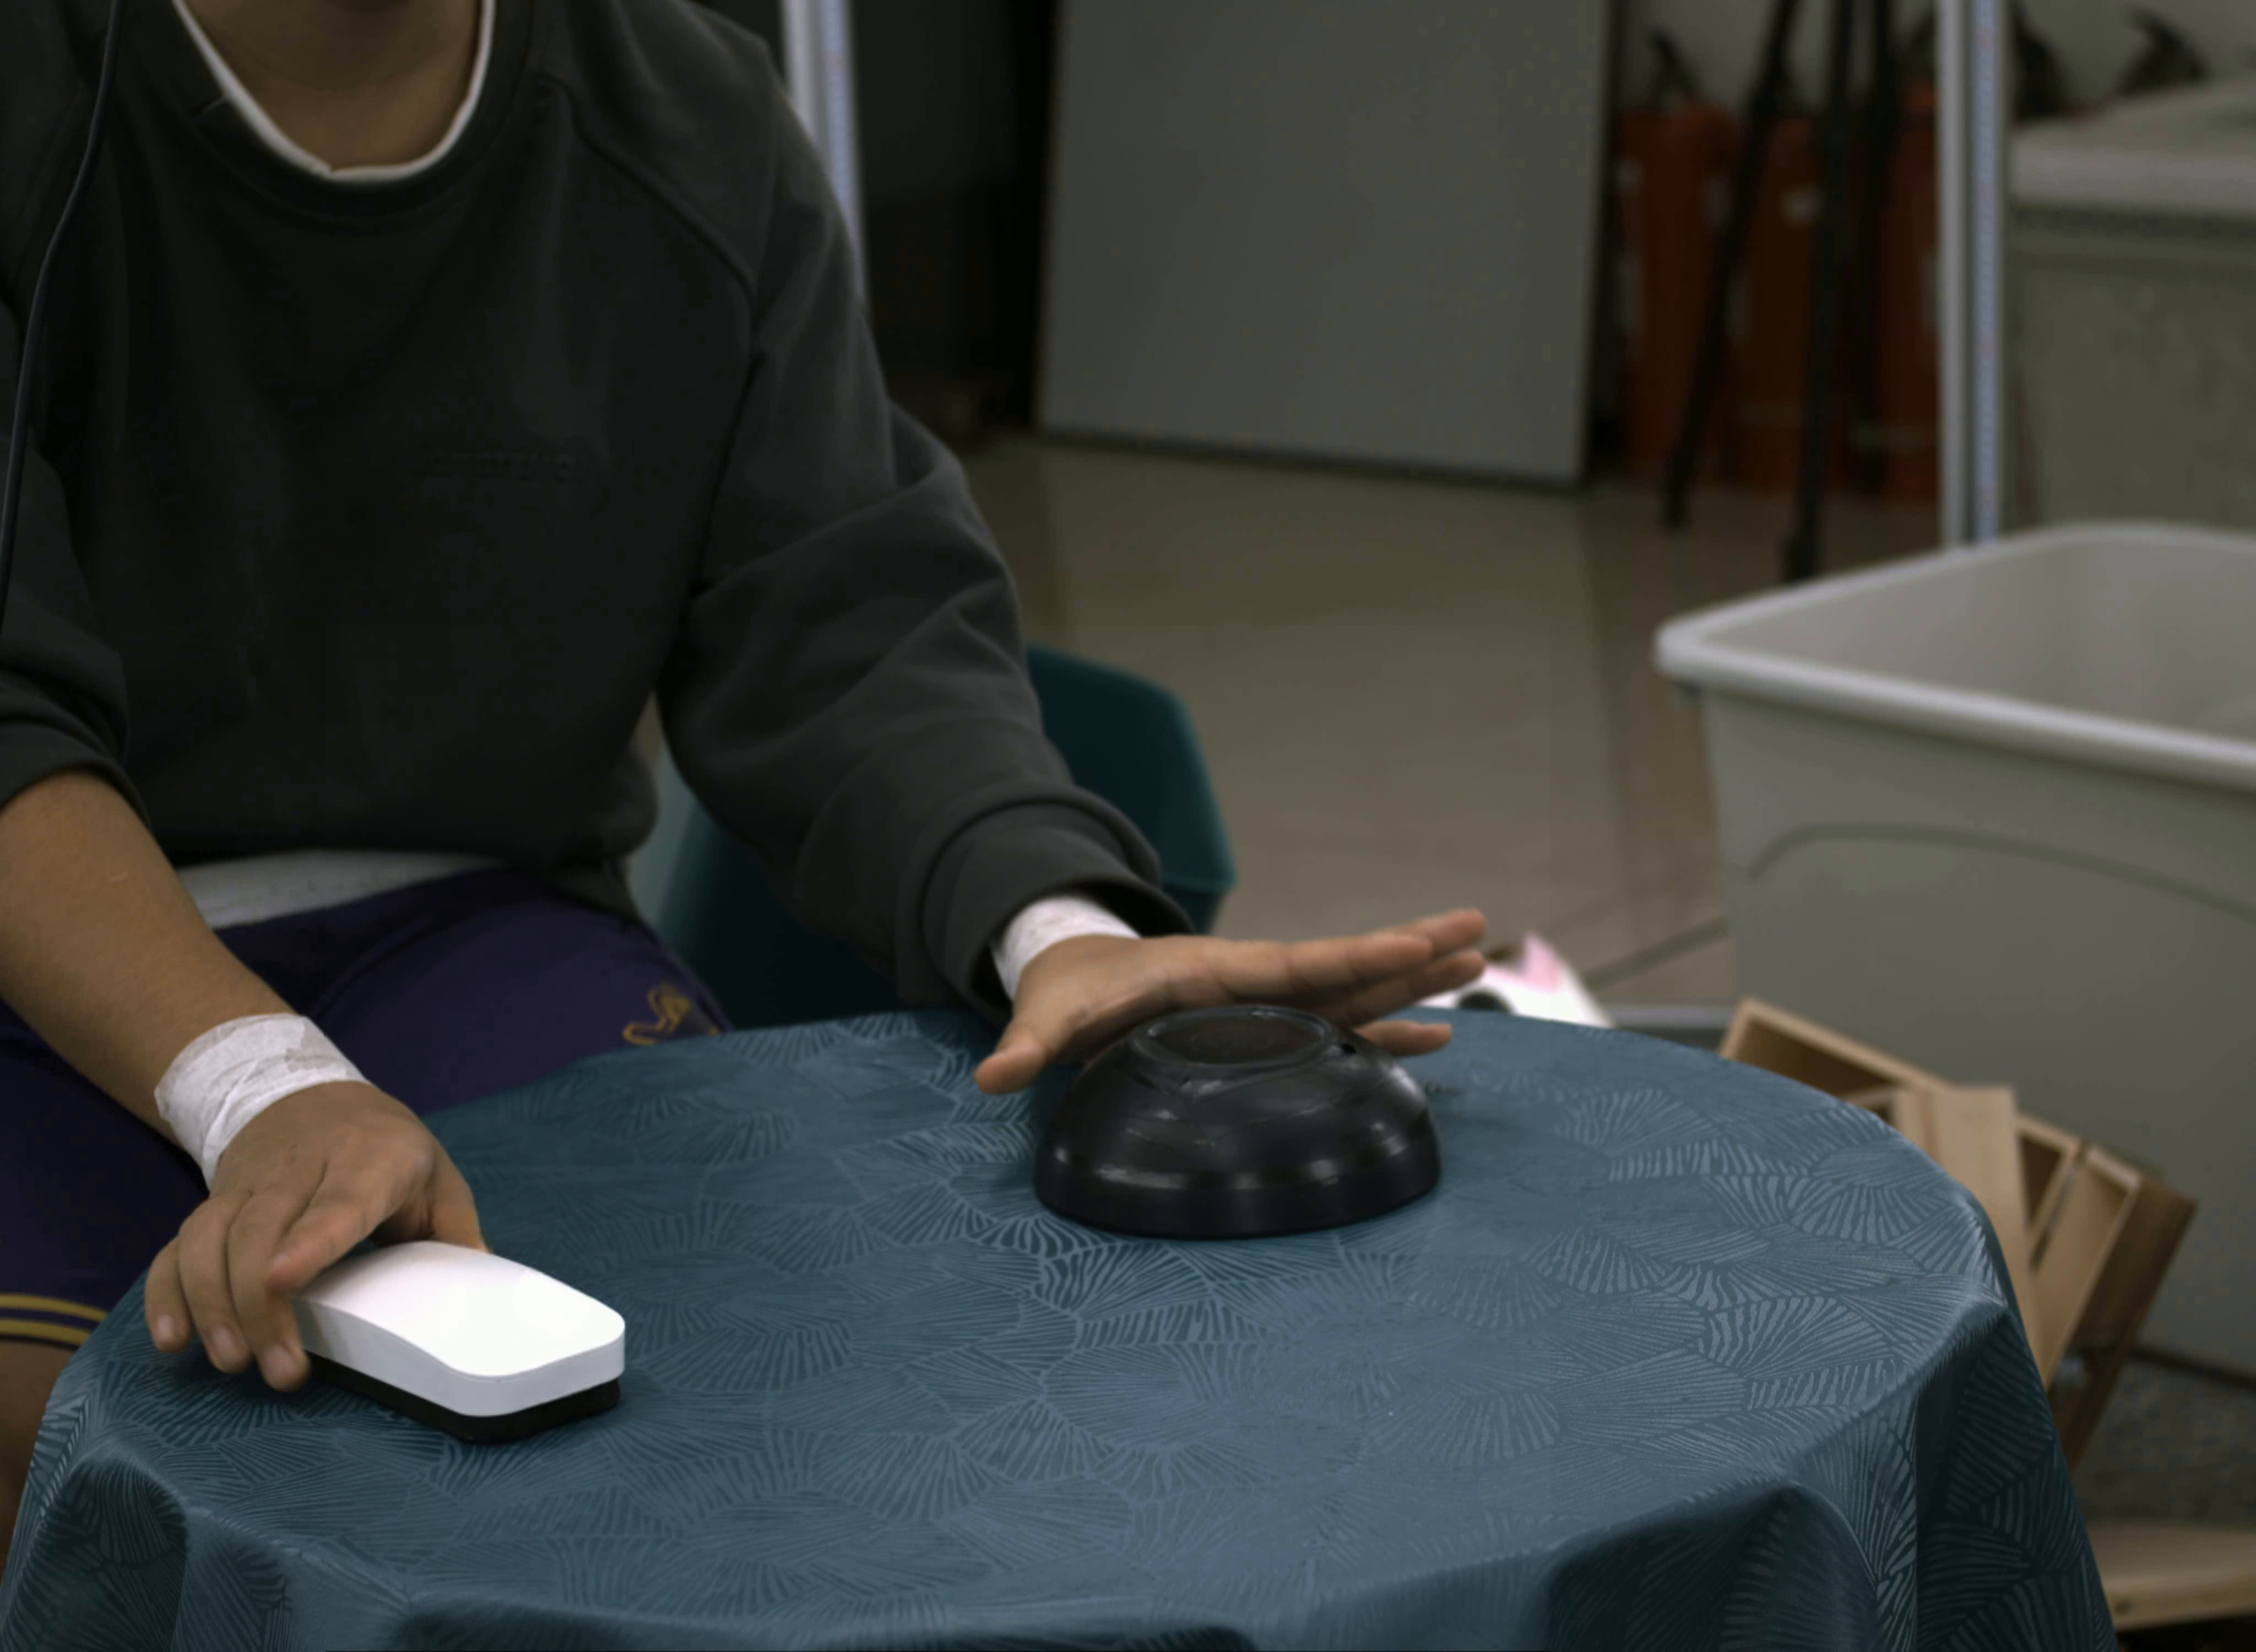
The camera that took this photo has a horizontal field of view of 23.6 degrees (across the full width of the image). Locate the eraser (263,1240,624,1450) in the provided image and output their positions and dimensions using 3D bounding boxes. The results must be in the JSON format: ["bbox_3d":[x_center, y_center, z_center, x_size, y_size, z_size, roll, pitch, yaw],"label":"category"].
[{"bbox_3d":[-0.205,0.152,1.631,0.062,0.035,0.132,-12,17,-36],"label":"eraser"}]

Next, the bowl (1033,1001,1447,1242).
[{"bbox_3d":[0.035,0.091,1.772,0.138,0.050,0.140,-4,15,0],"label":"bowl"}]
